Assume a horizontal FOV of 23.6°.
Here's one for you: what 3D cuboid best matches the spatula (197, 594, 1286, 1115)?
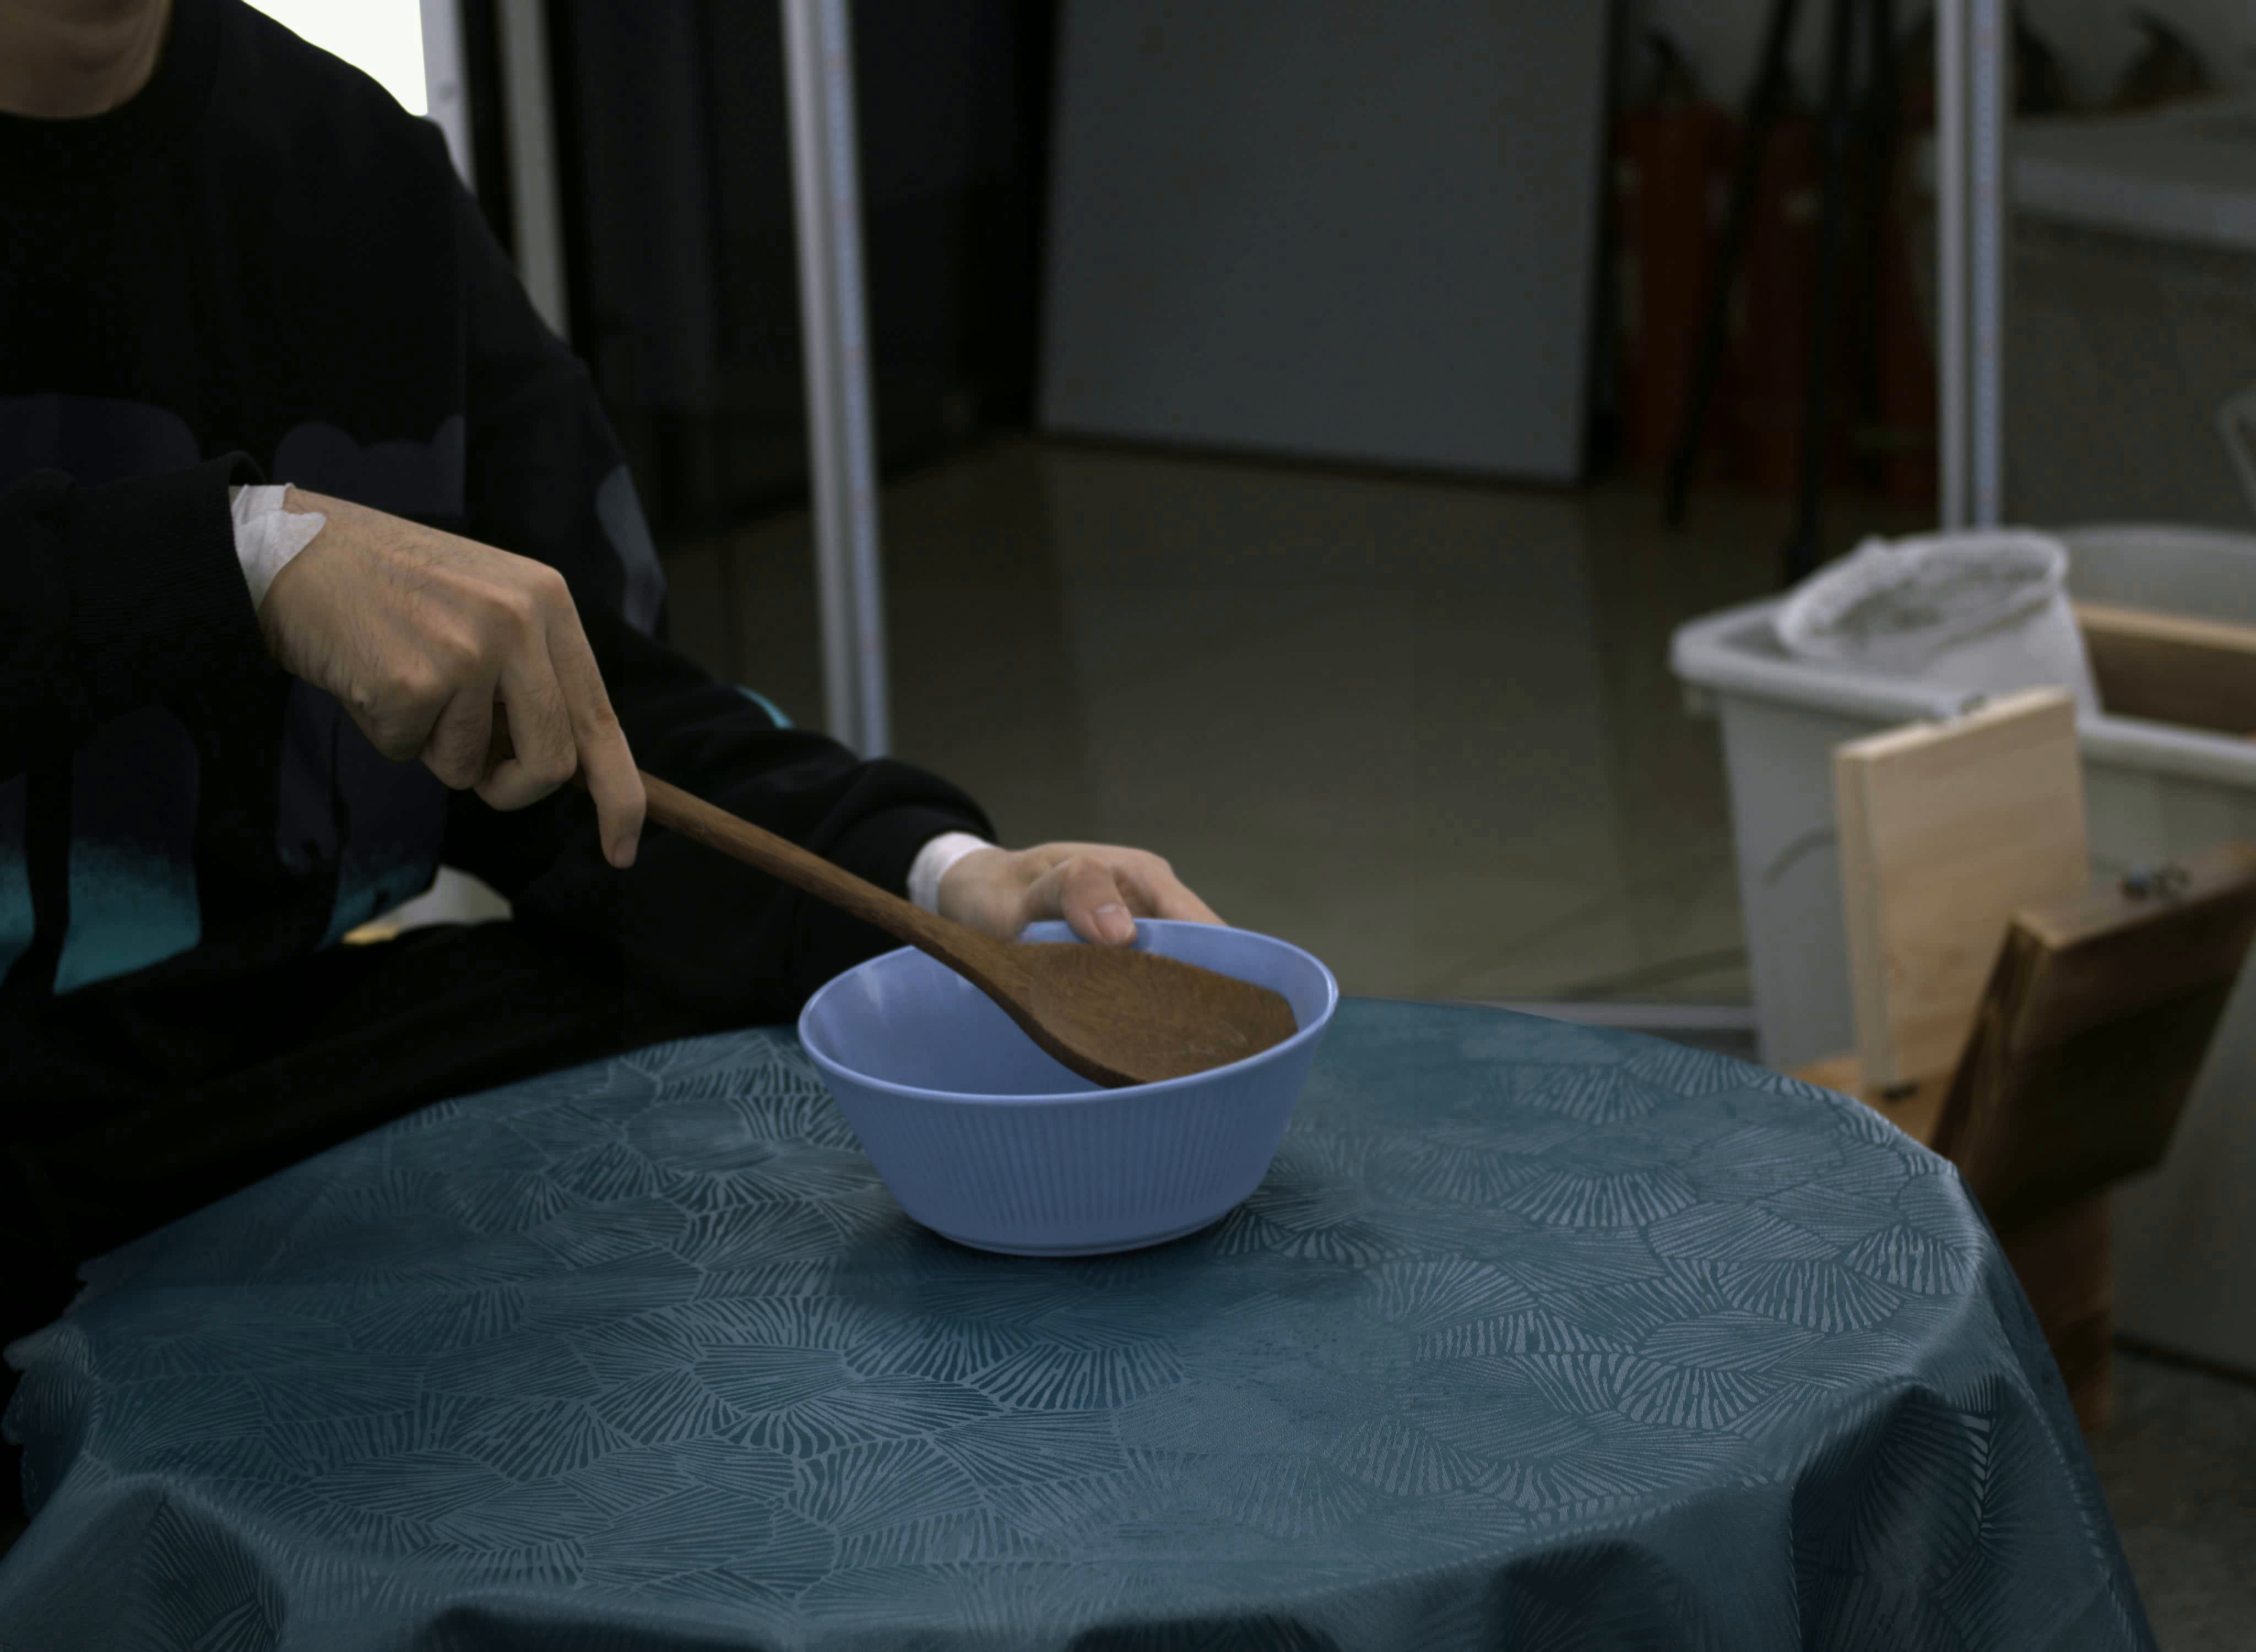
[{"bbox_3d":[-0.123,0.004,1.738,0.383,0.016,0.096,24,25,3],"label":"spatula"}]

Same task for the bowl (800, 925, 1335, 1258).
[{"bbox_3d":[-0.017,0.088,1.742,0.174,0.071,0.176,-5,15,1],"label":"bowl"}]
